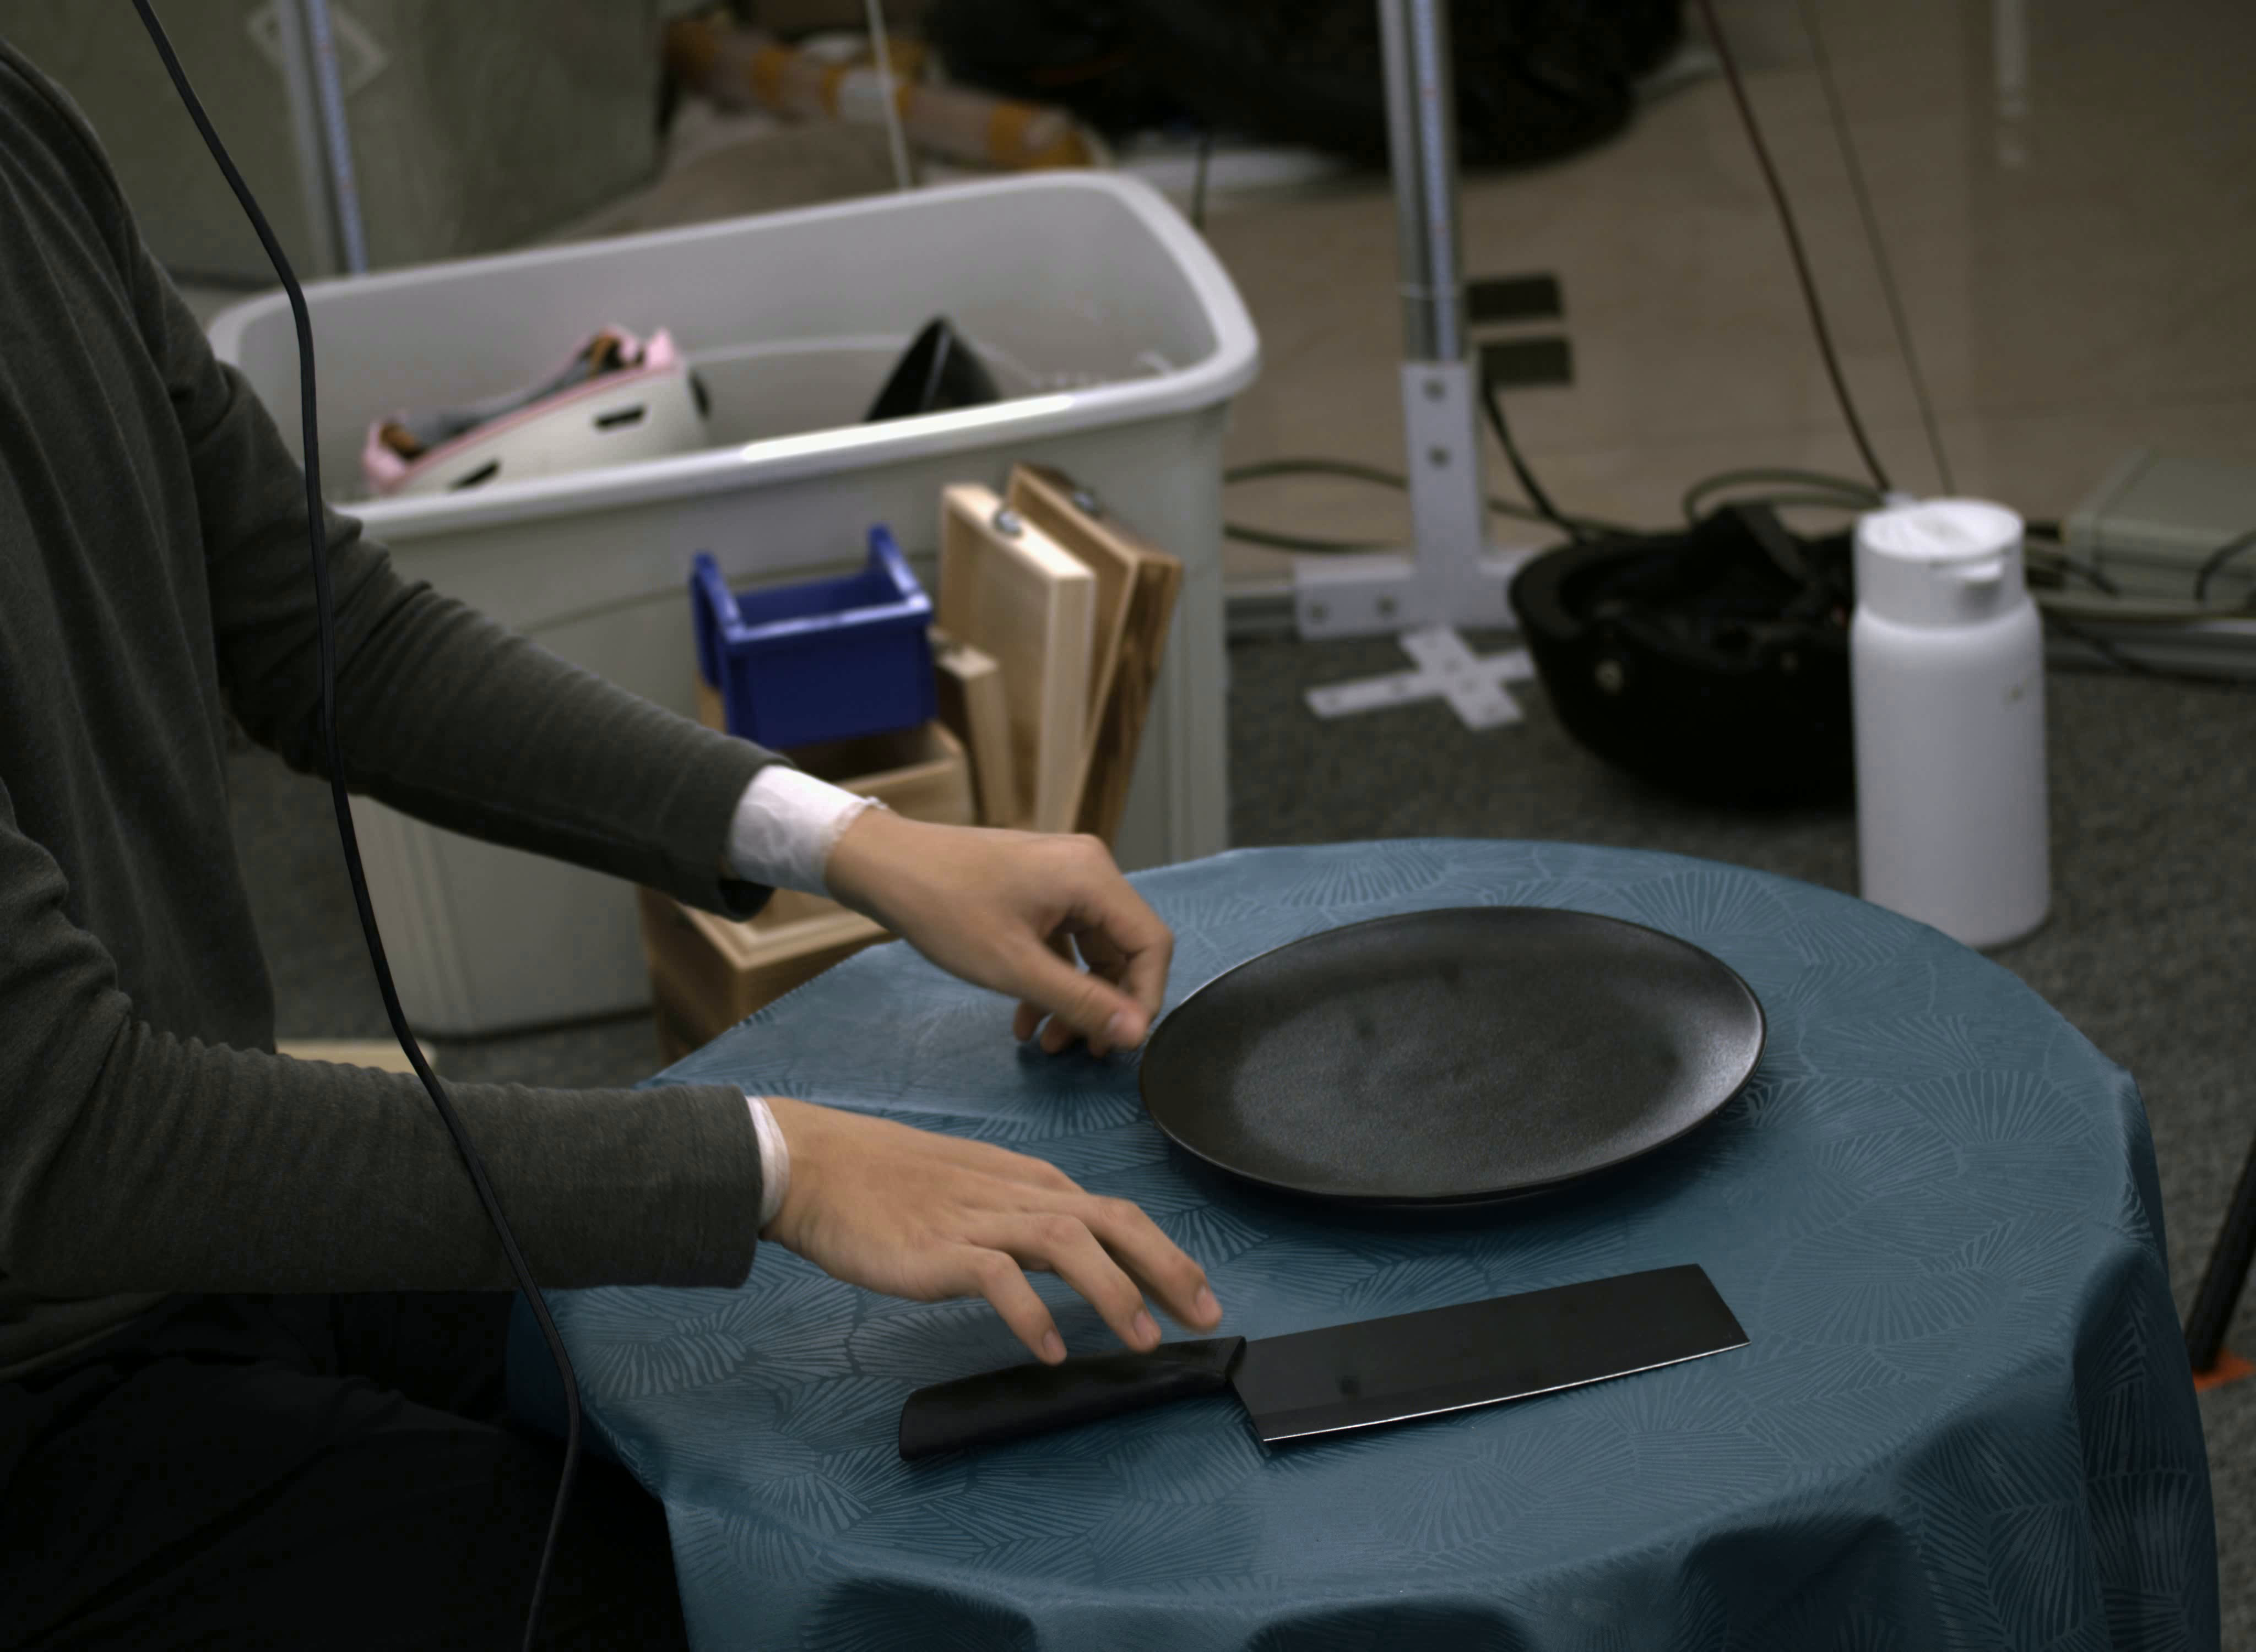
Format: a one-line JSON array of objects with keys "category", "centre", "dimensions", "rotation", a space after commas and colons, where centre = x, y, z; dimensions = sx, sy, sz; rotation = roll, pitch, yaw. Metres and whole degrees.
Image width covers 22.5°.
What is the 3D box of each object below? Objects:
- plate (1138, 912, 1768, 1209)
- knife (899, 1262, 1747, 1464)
[{"category": "plate", "centre": [0.125, 0.094, 2.189], "dimensions": [0.244, 0.024, 0.241], "rotation": [-5, 25, 3]}, {"category": "knife", "centre": [0.067, 0.193, 2.003], "dimensions": [0.302, 0.021, 0.080], "rotation": [-8, 25, -7]}]
